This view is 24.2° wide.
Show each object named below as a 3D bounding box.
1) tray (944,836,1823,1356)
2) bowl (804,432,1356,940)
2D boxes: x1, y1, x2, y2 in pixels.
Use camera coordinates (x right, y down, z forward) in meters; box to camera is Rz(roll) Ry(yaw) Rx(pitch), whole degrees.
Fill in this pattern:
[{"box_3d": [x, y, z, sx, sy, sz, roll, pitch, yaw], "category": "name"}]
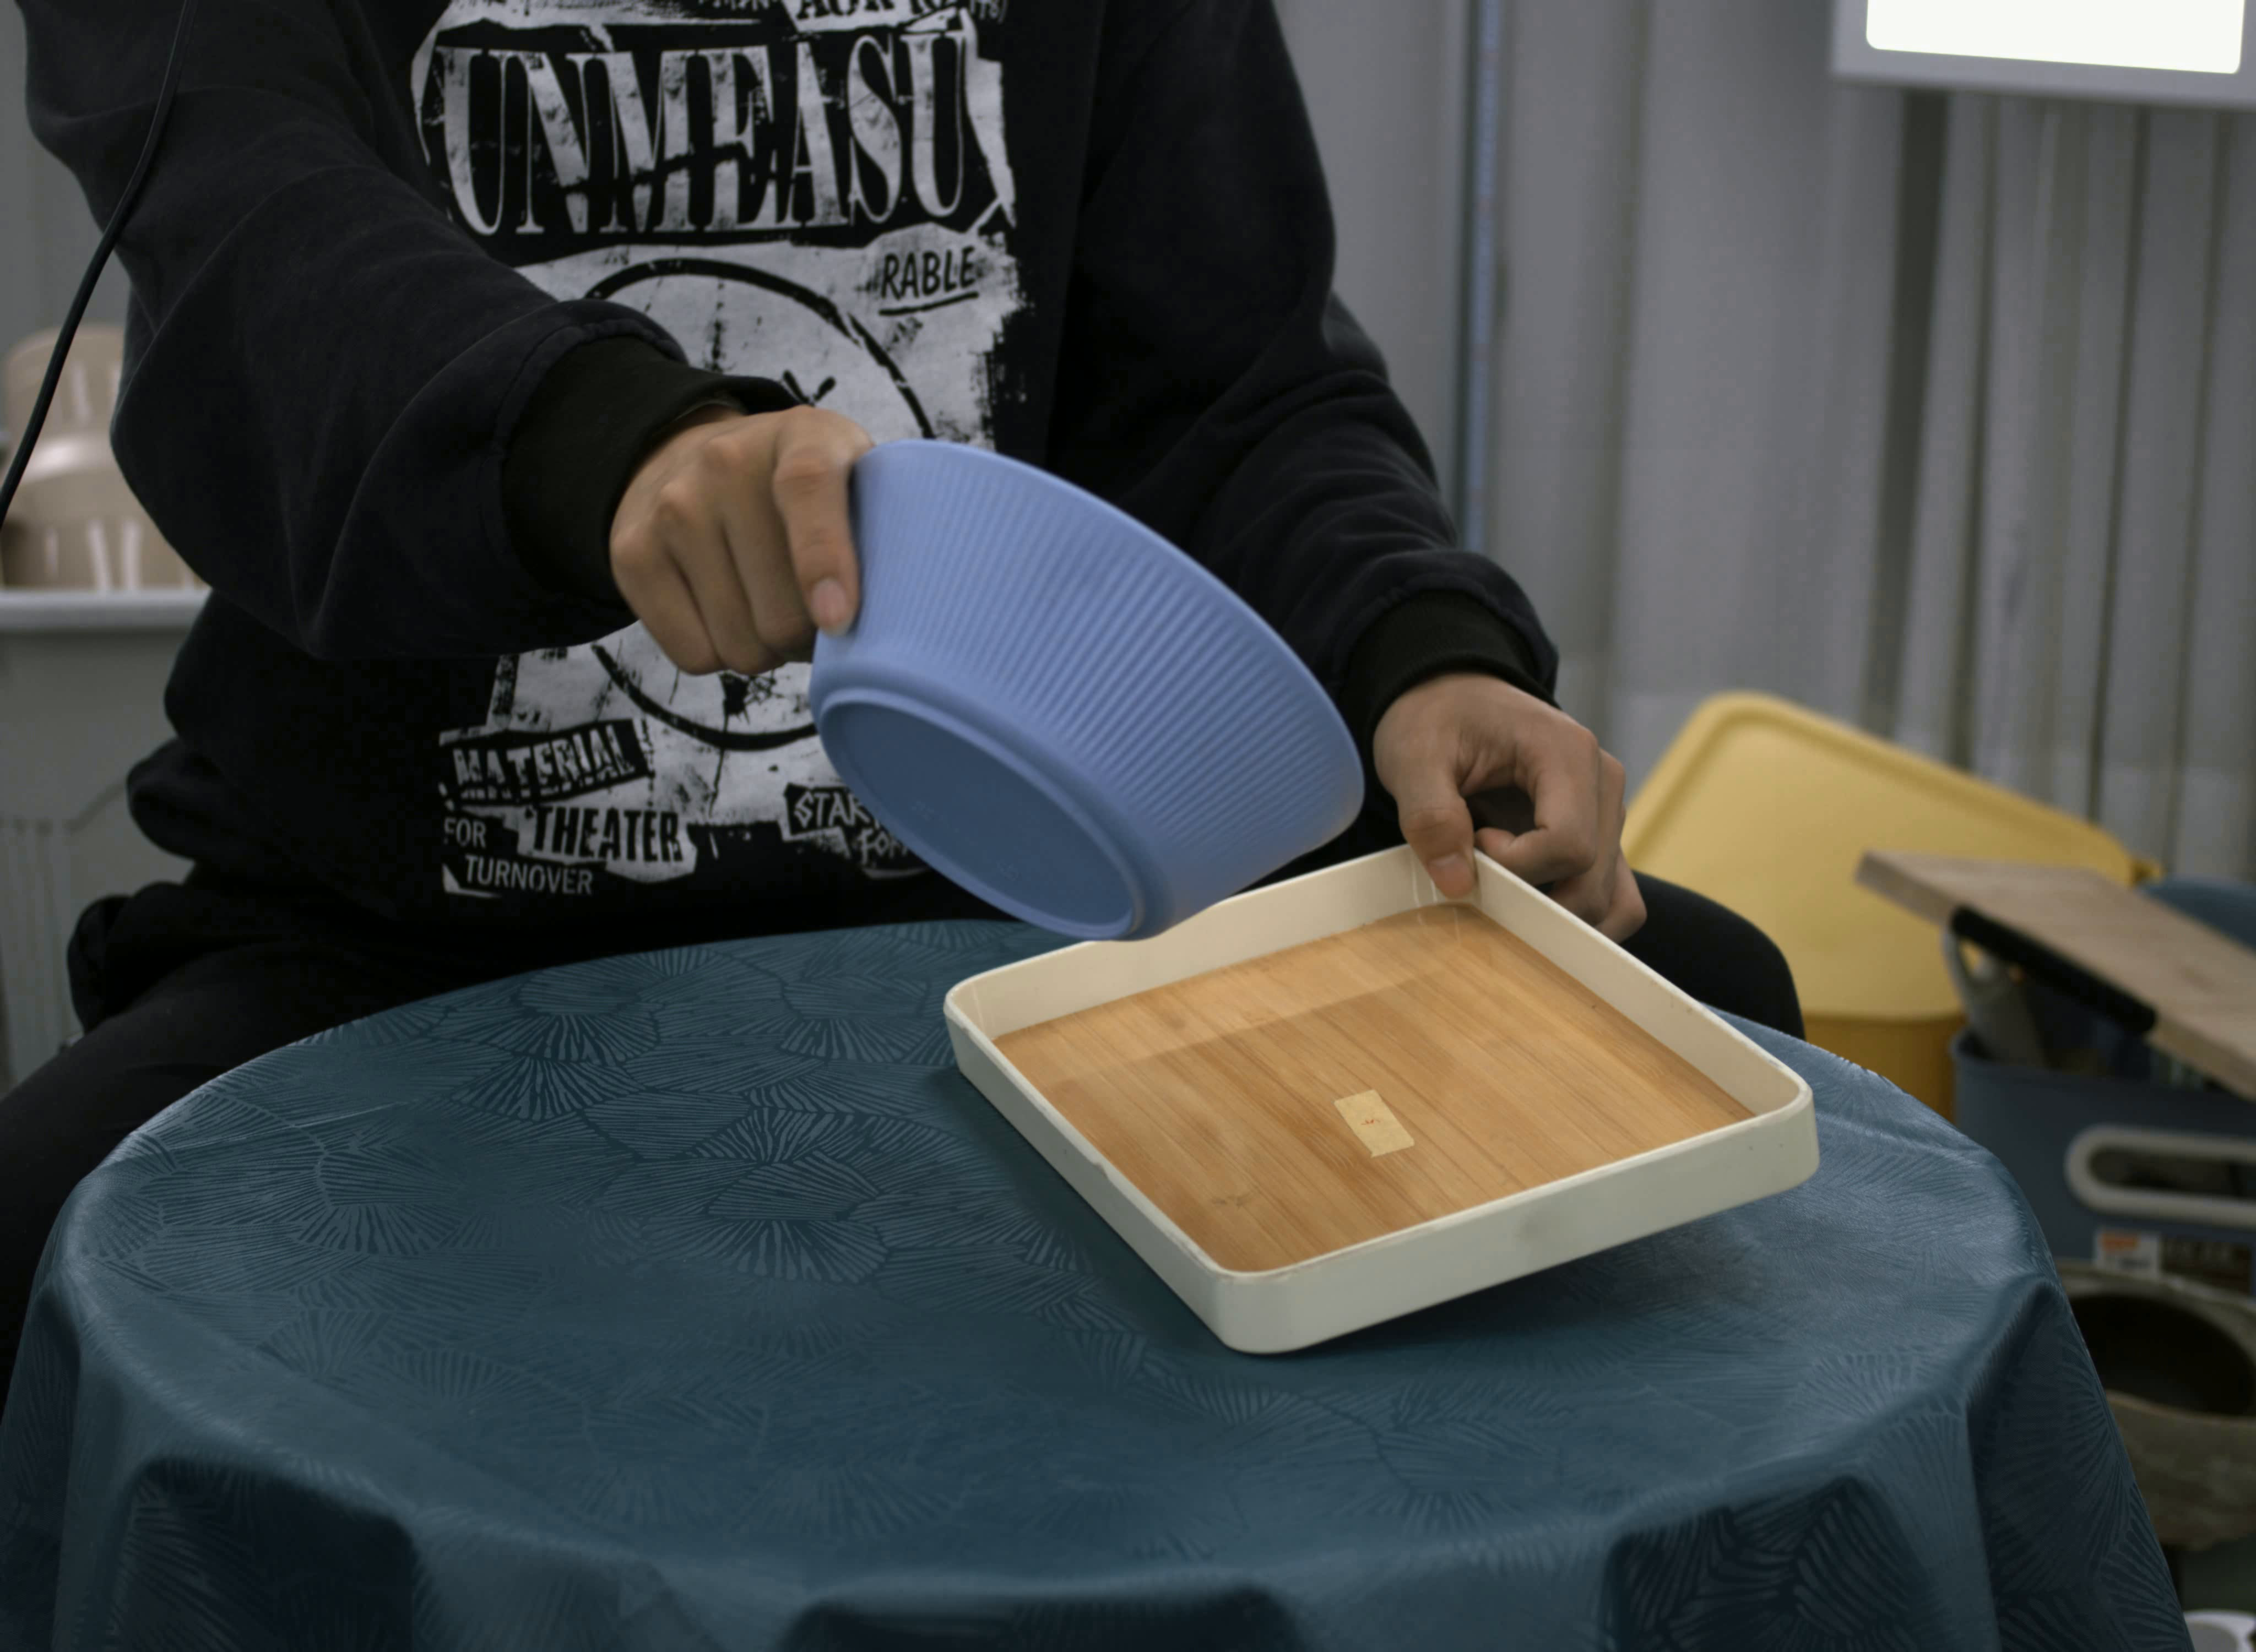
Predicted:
[{"box_3d": [0.072, 0.078, 1.637, 0.191, 0.028, 0.297, -17, 20, -14], "category": "tray"}, {"box_3d": [-0.026, -0.028, 1.492, 0.173, 0.178, 0.070, 16, 63, 42], "category": "bowl"}]
